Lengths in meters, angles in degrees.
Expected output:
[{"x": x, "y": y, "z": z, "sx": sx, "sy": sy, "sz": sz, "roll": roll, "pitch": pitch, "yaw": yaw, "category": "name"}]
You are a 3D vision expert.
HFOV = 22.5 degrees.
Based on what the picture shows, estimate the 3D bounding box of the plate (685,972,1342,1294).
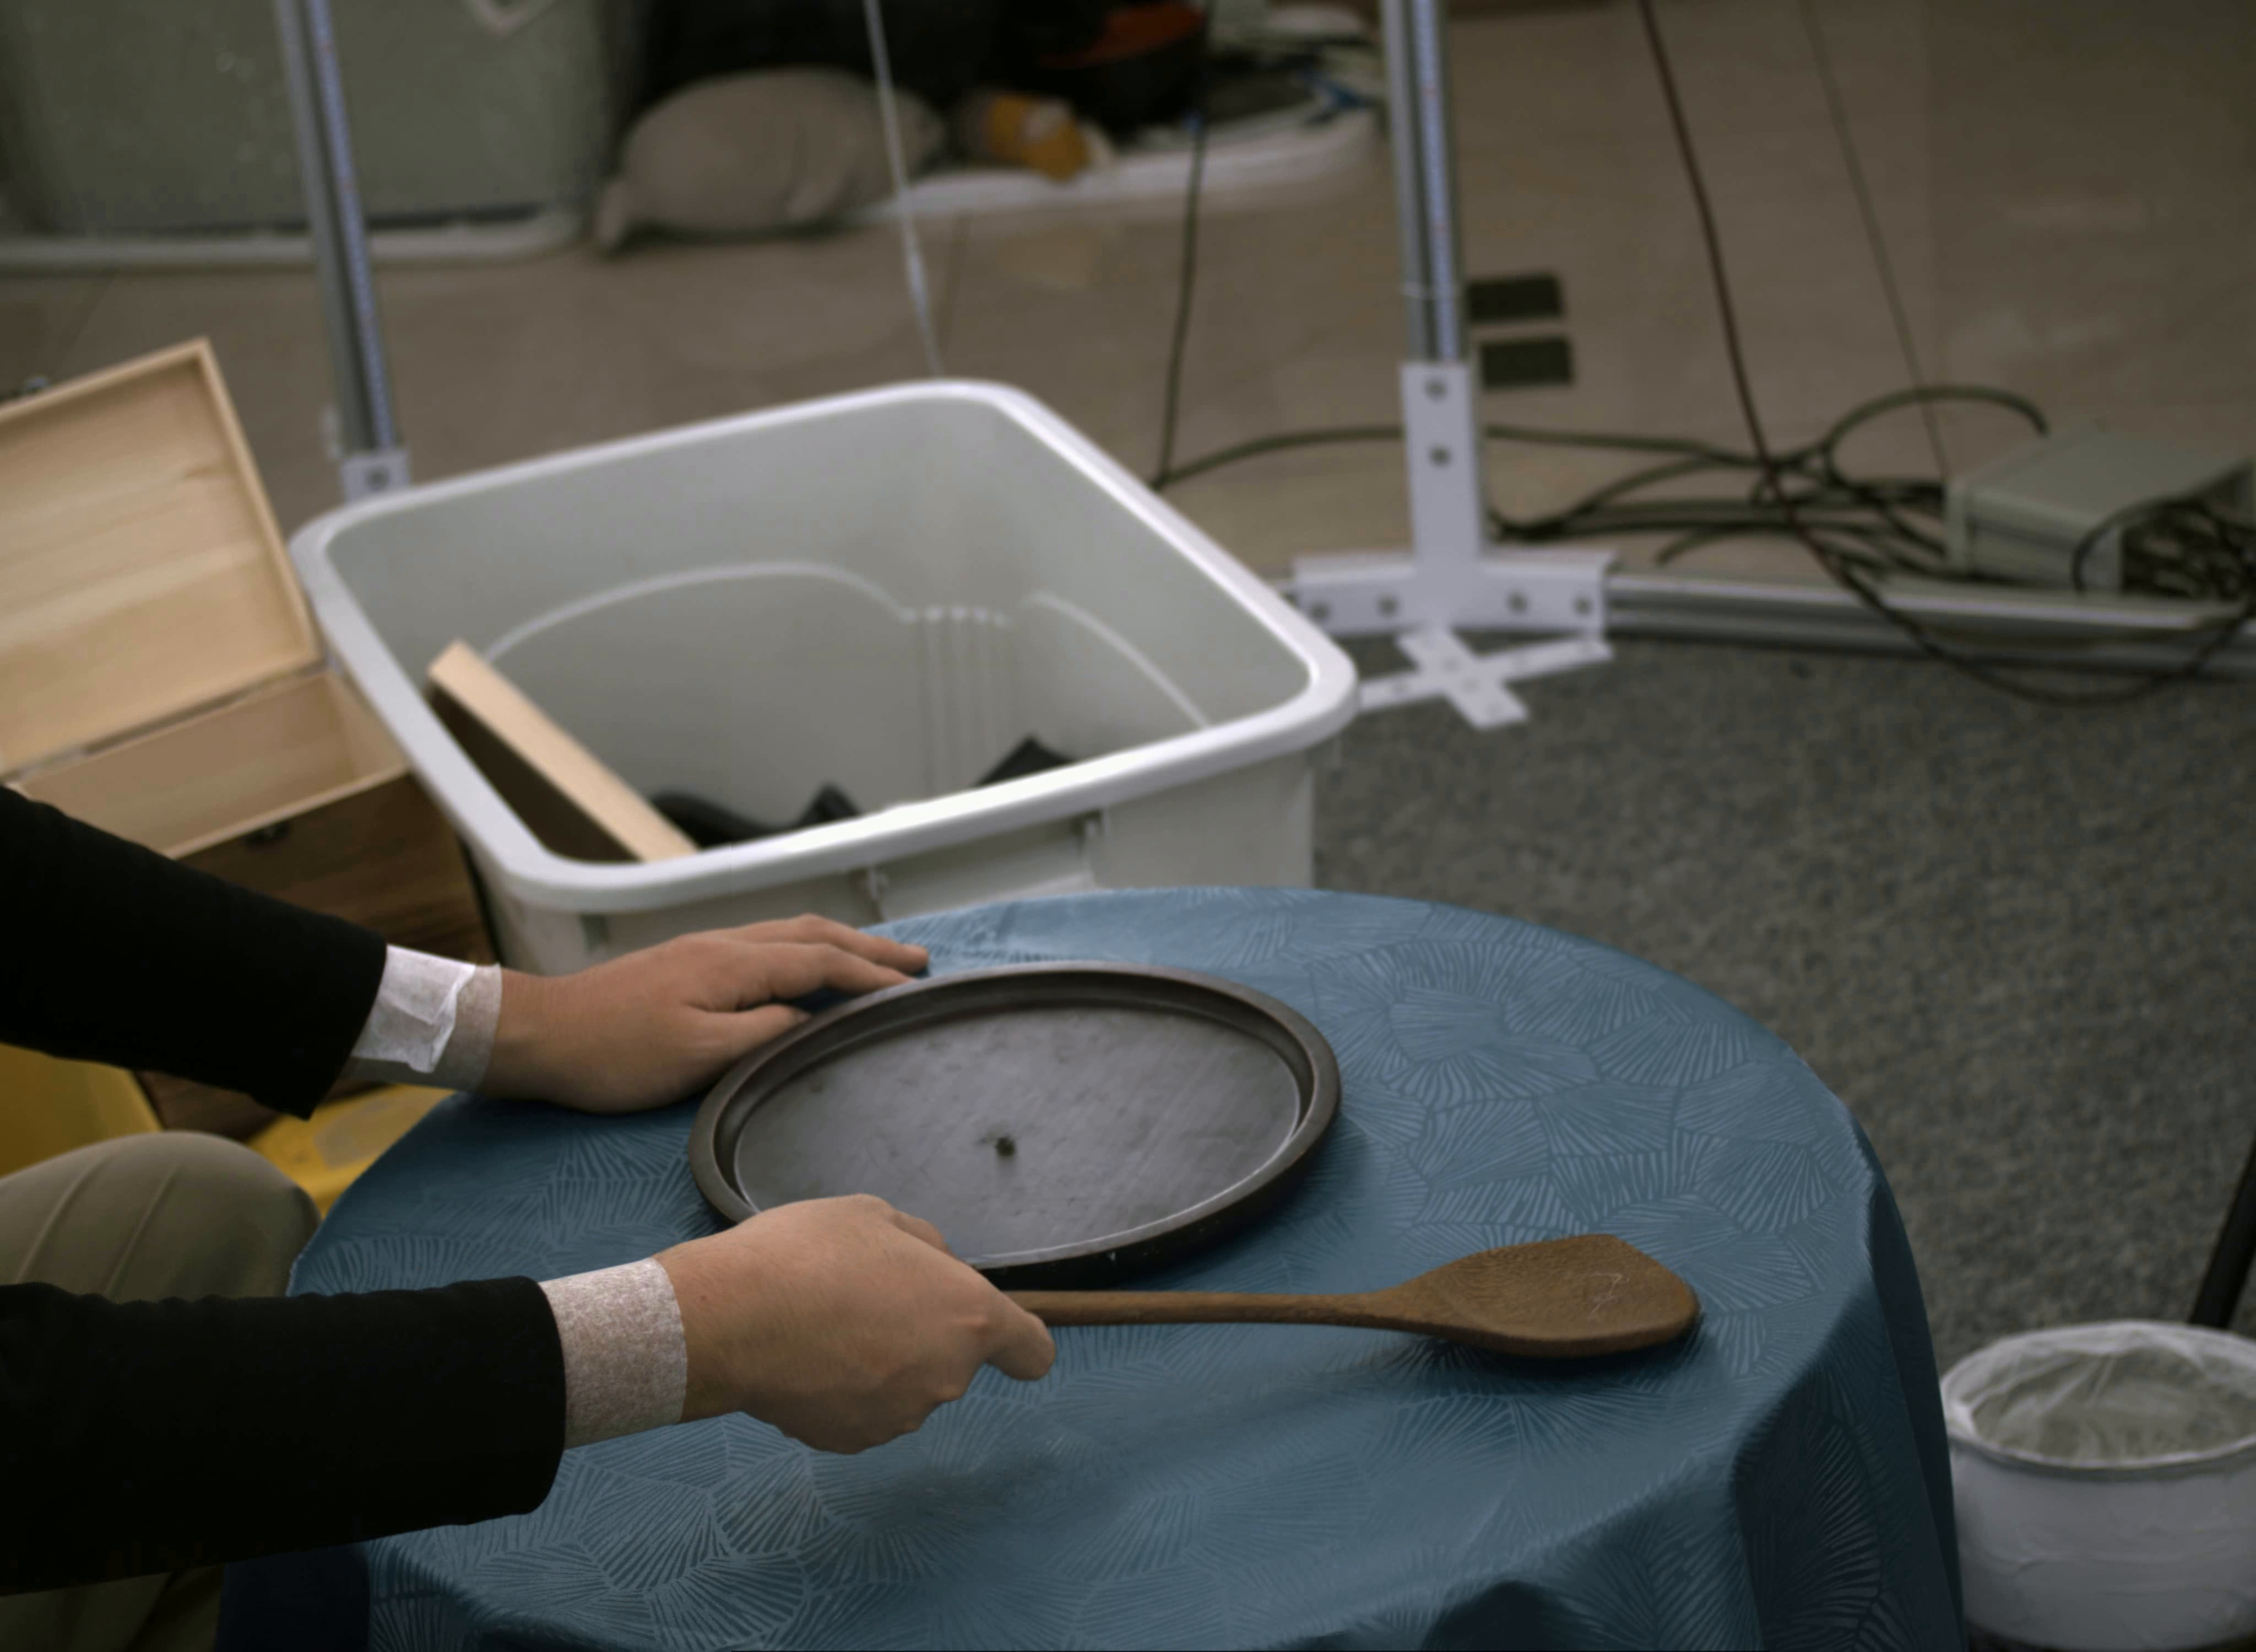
[{"x": -0.044, "y": 0.118, "z": 2.179, "sx": 0.254, "sy": 0.029, "sz": 0.251, "roll": -4, "pitch": 26, "yaw": 2, "category": "plate"}]

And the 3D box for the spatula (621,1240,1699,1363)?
[{"x": 0.013, "y": 0.170, "z": 1.980, "sx": 0.385, "sy": 0.016, "sz": 0.095, "roll": 0, "pitch": 18, "yaw": -17, "category": "spatula"}]
